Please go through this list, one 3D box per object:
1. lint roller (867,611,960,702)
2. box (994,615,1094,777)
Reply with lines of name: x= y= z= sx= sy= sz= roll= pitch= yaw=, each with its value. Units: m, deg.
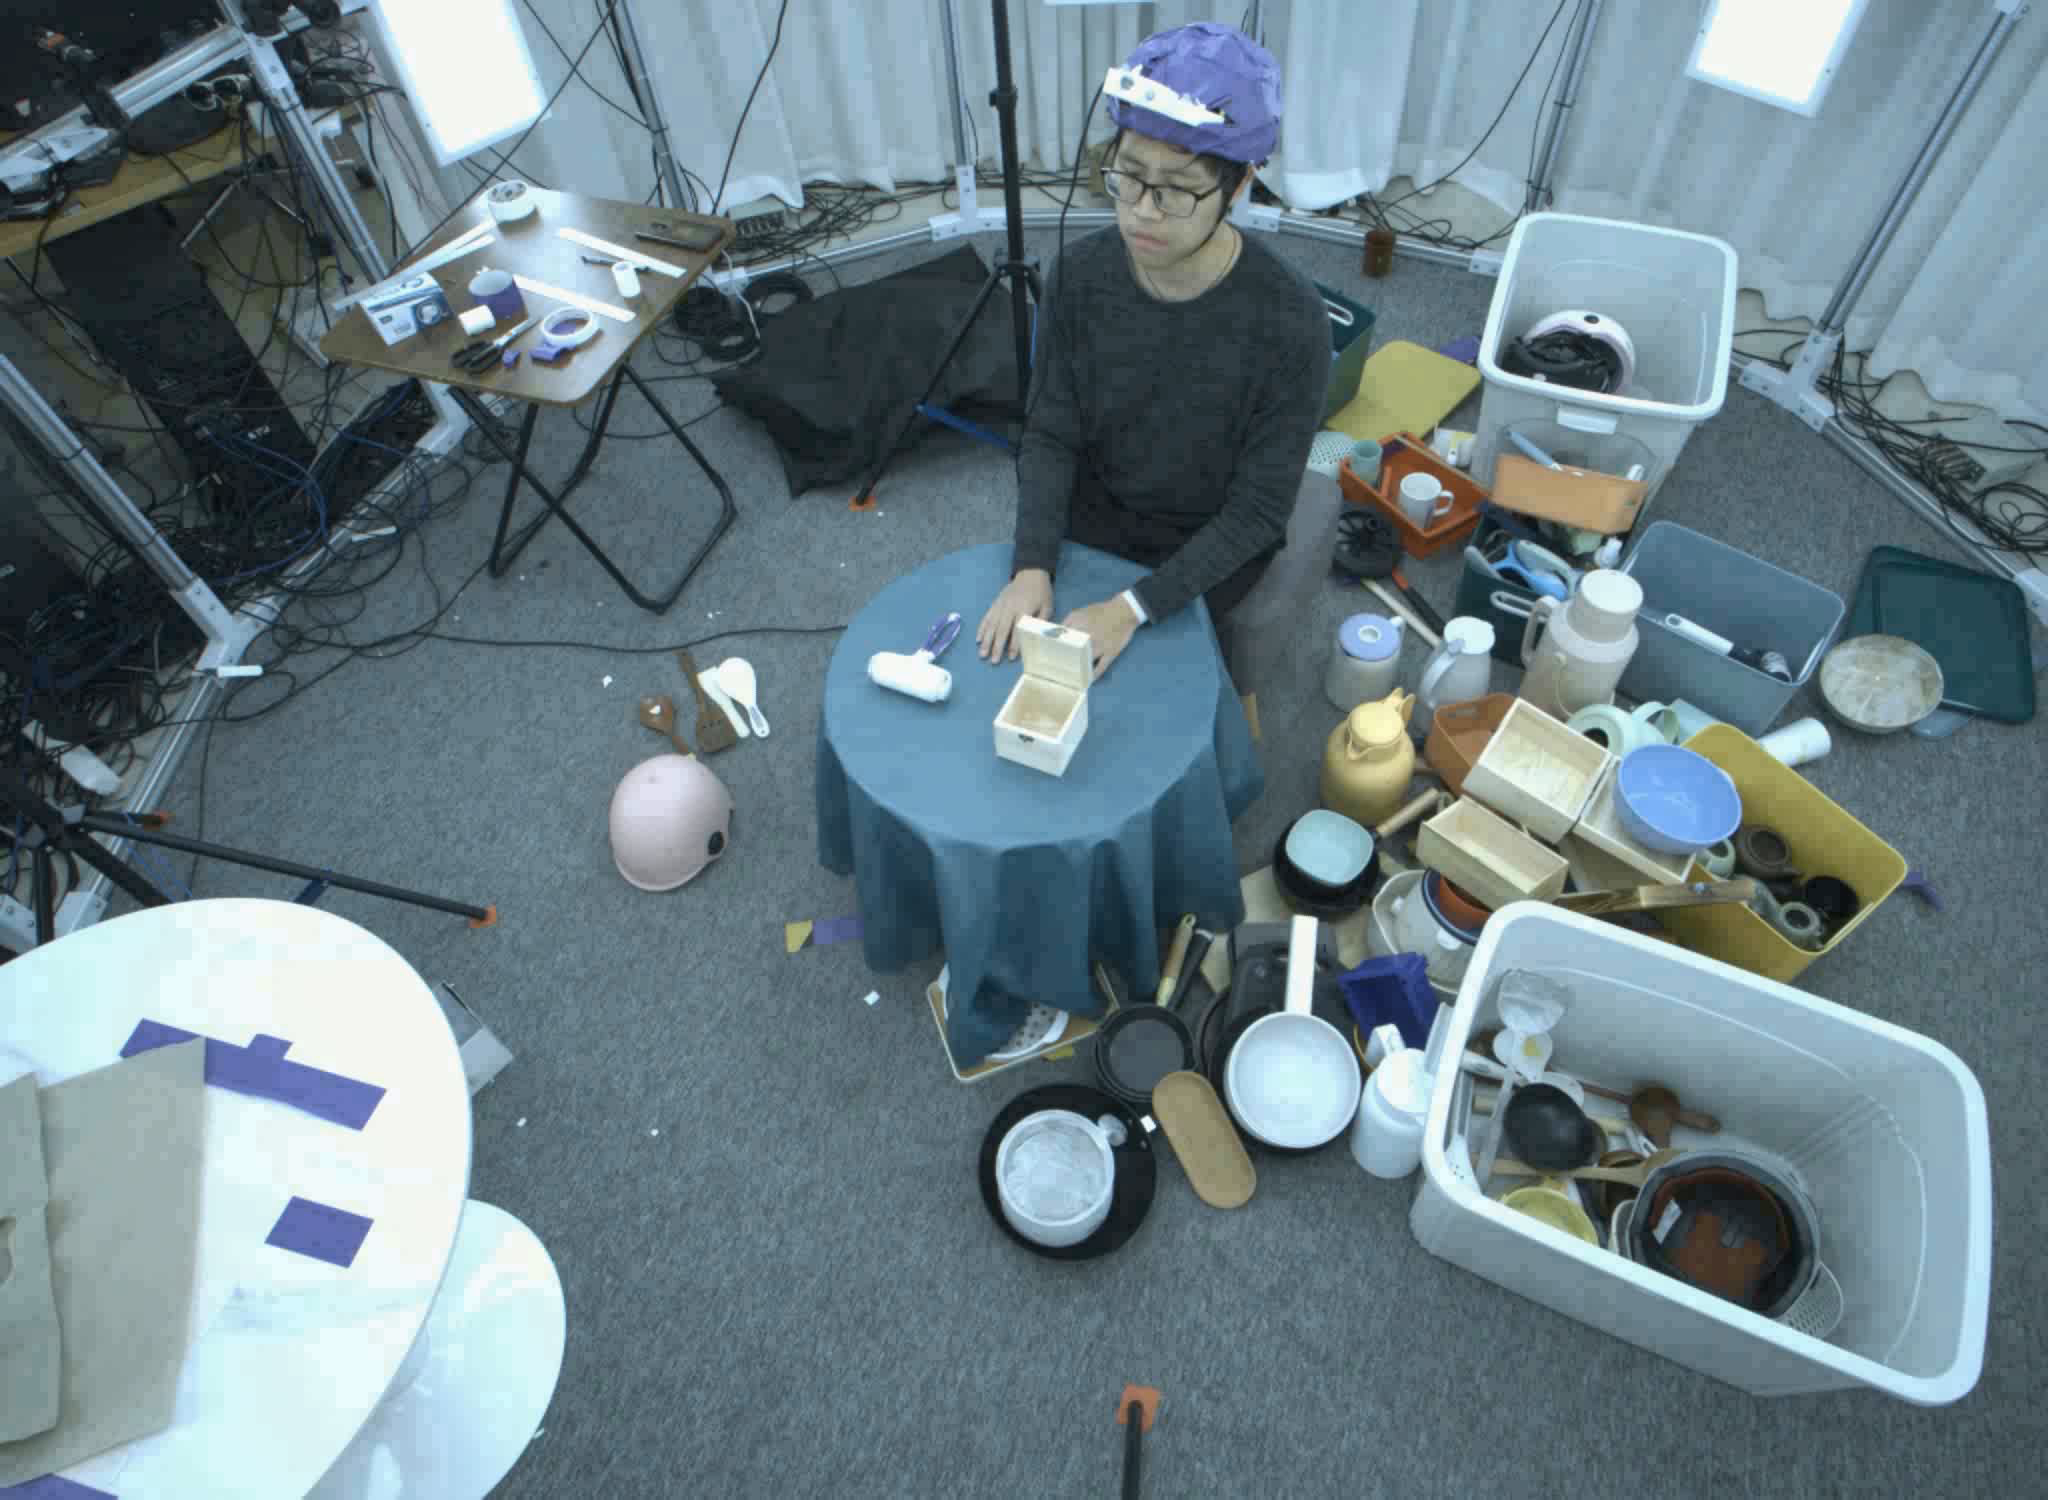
lint roller: x=-0.145 y=-0.158 z=1.875 sx=0.131 sy=0.051 sz=0.181 roll=20 pitch=60 yaw=17
box: x=0.026 y=-0.074 z=1.727 sx=0.101 sy=0.186 sz=0.134 roll=19 pitch=57 yaw=16
